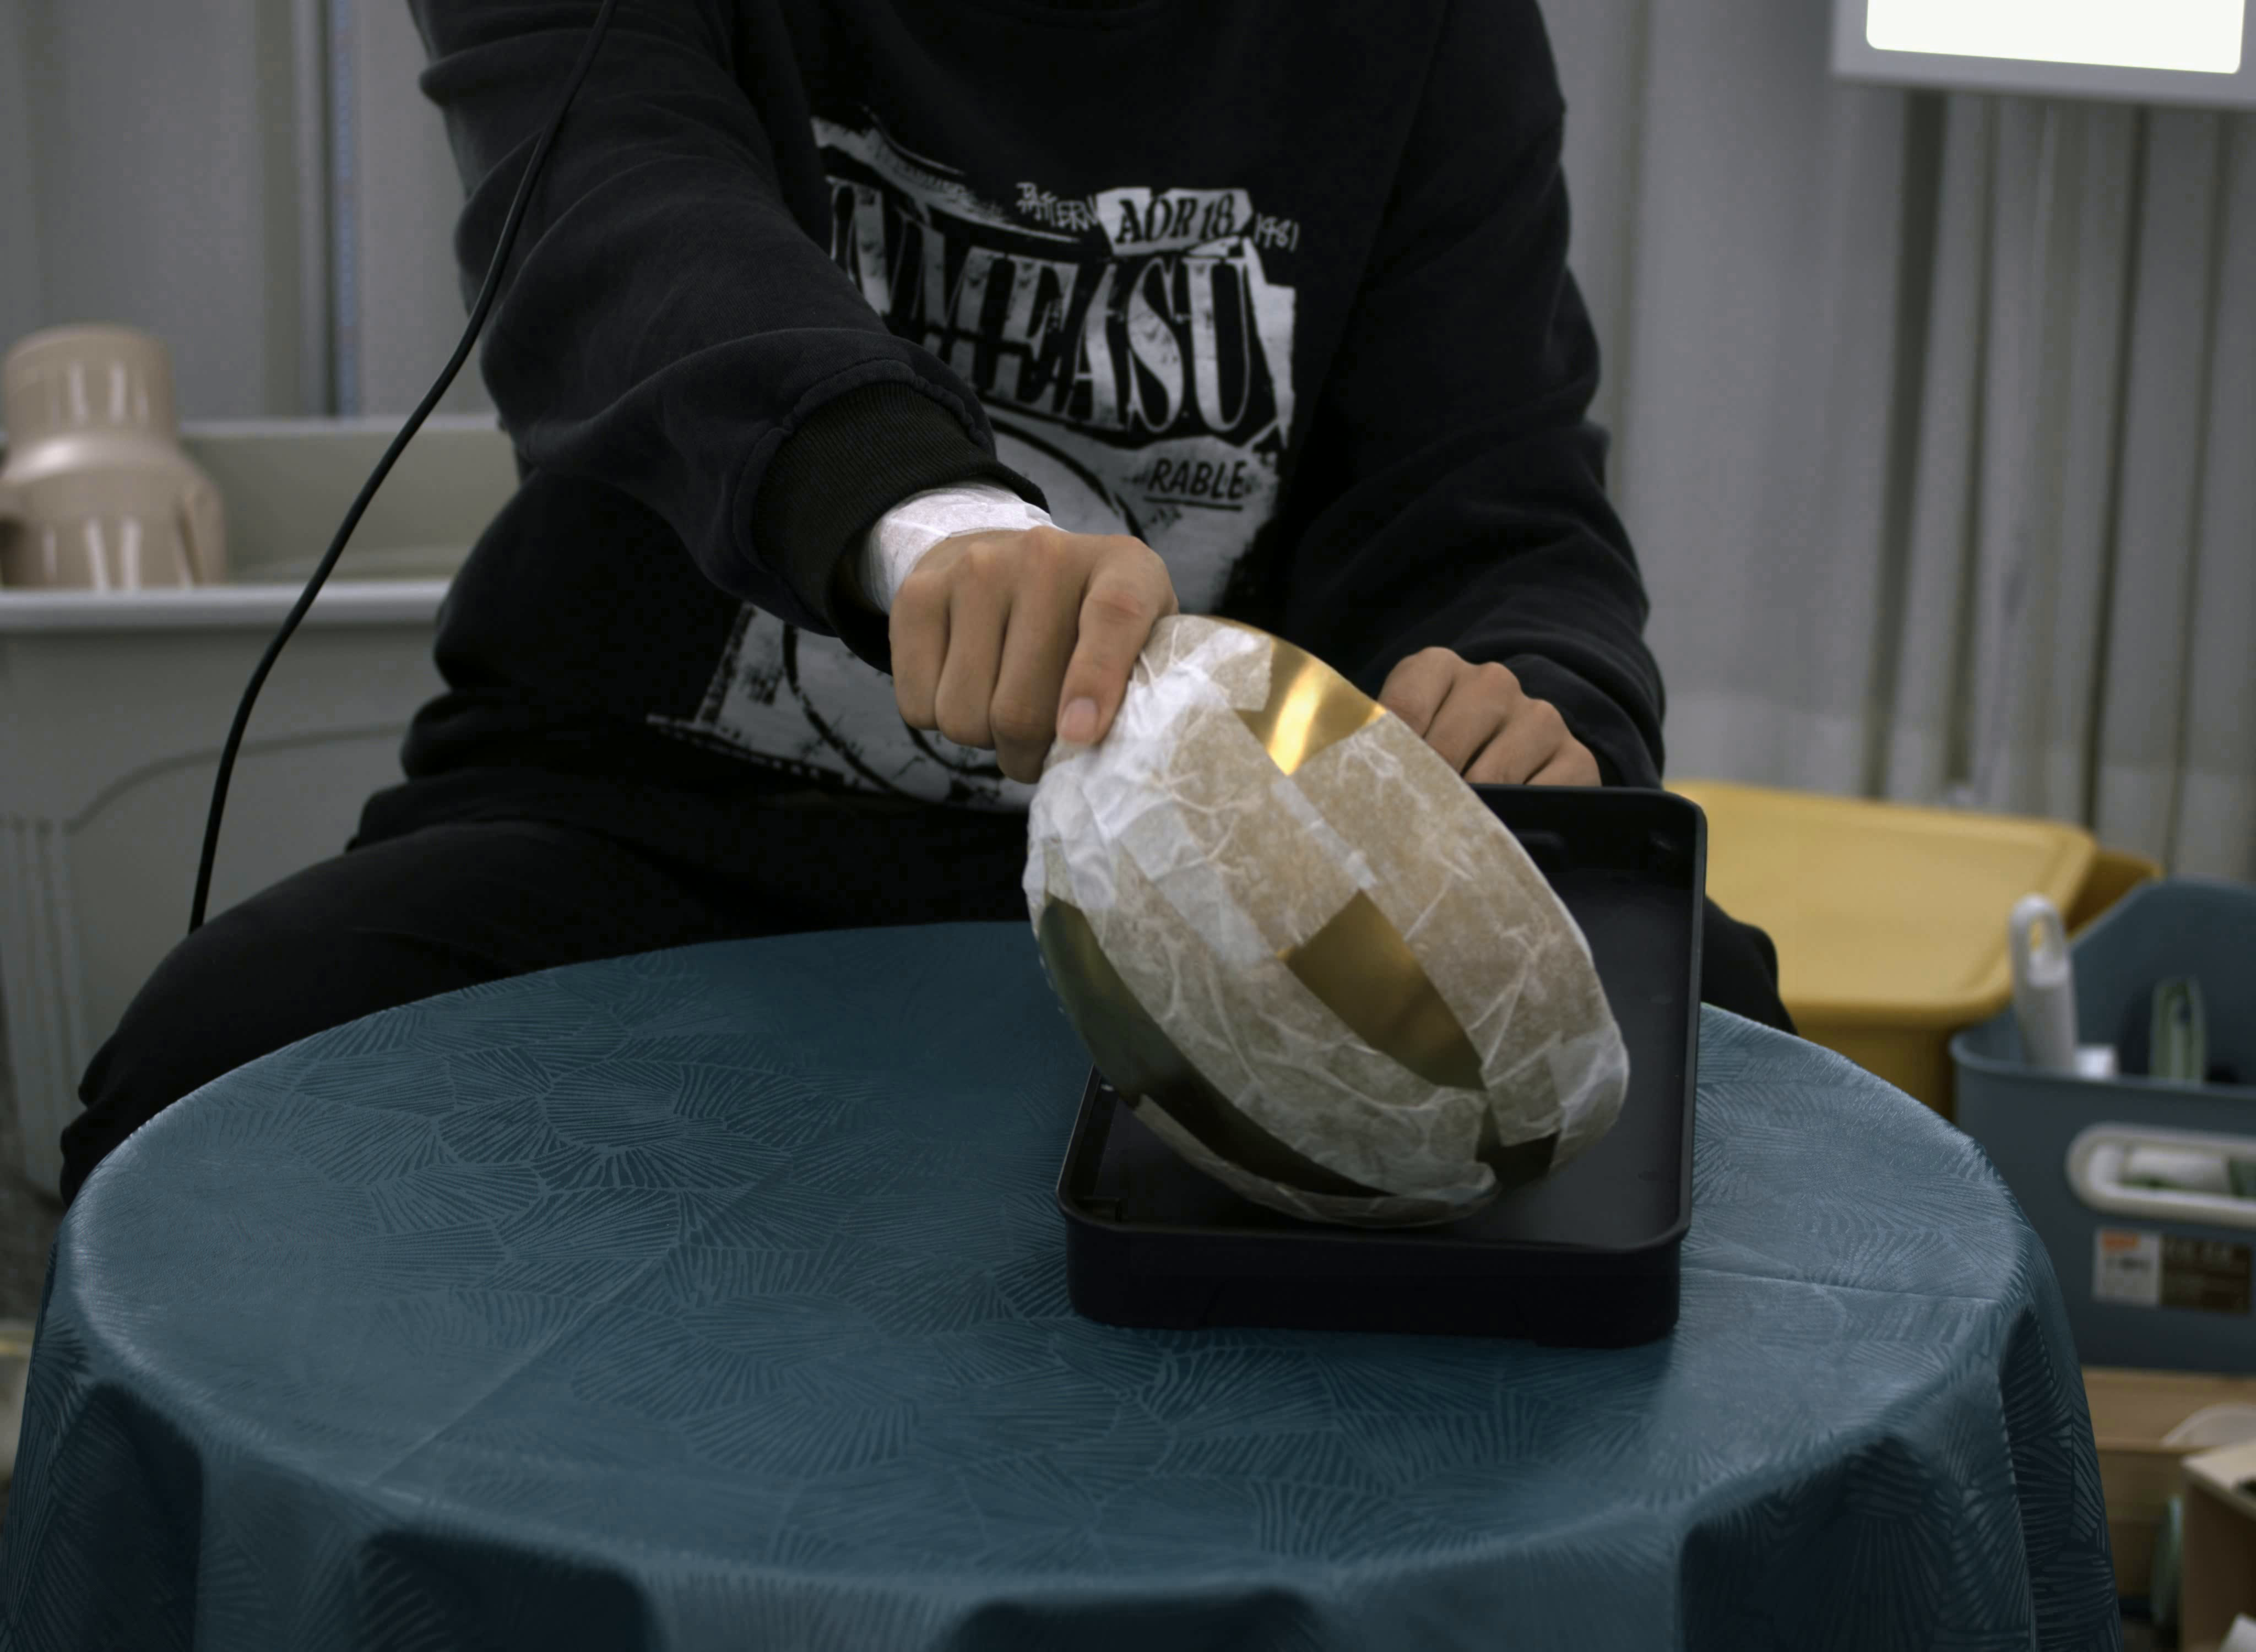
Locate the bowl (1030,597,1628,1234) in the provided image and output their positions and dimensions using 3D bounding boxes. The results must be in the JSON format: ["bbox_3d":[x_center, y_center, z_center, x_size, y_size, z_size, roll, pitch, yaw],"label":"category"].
[{"bbox_3d":[0.038,0.045,1.519,0.094,0.217,0.212,-41,34,-20],"label":"bowl"}]

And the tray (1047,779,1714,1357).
[{"bbox_3d":[0.085,0.066,1.638,0.183,0.037,0.316,4,26,7],"label":"tray"}]
